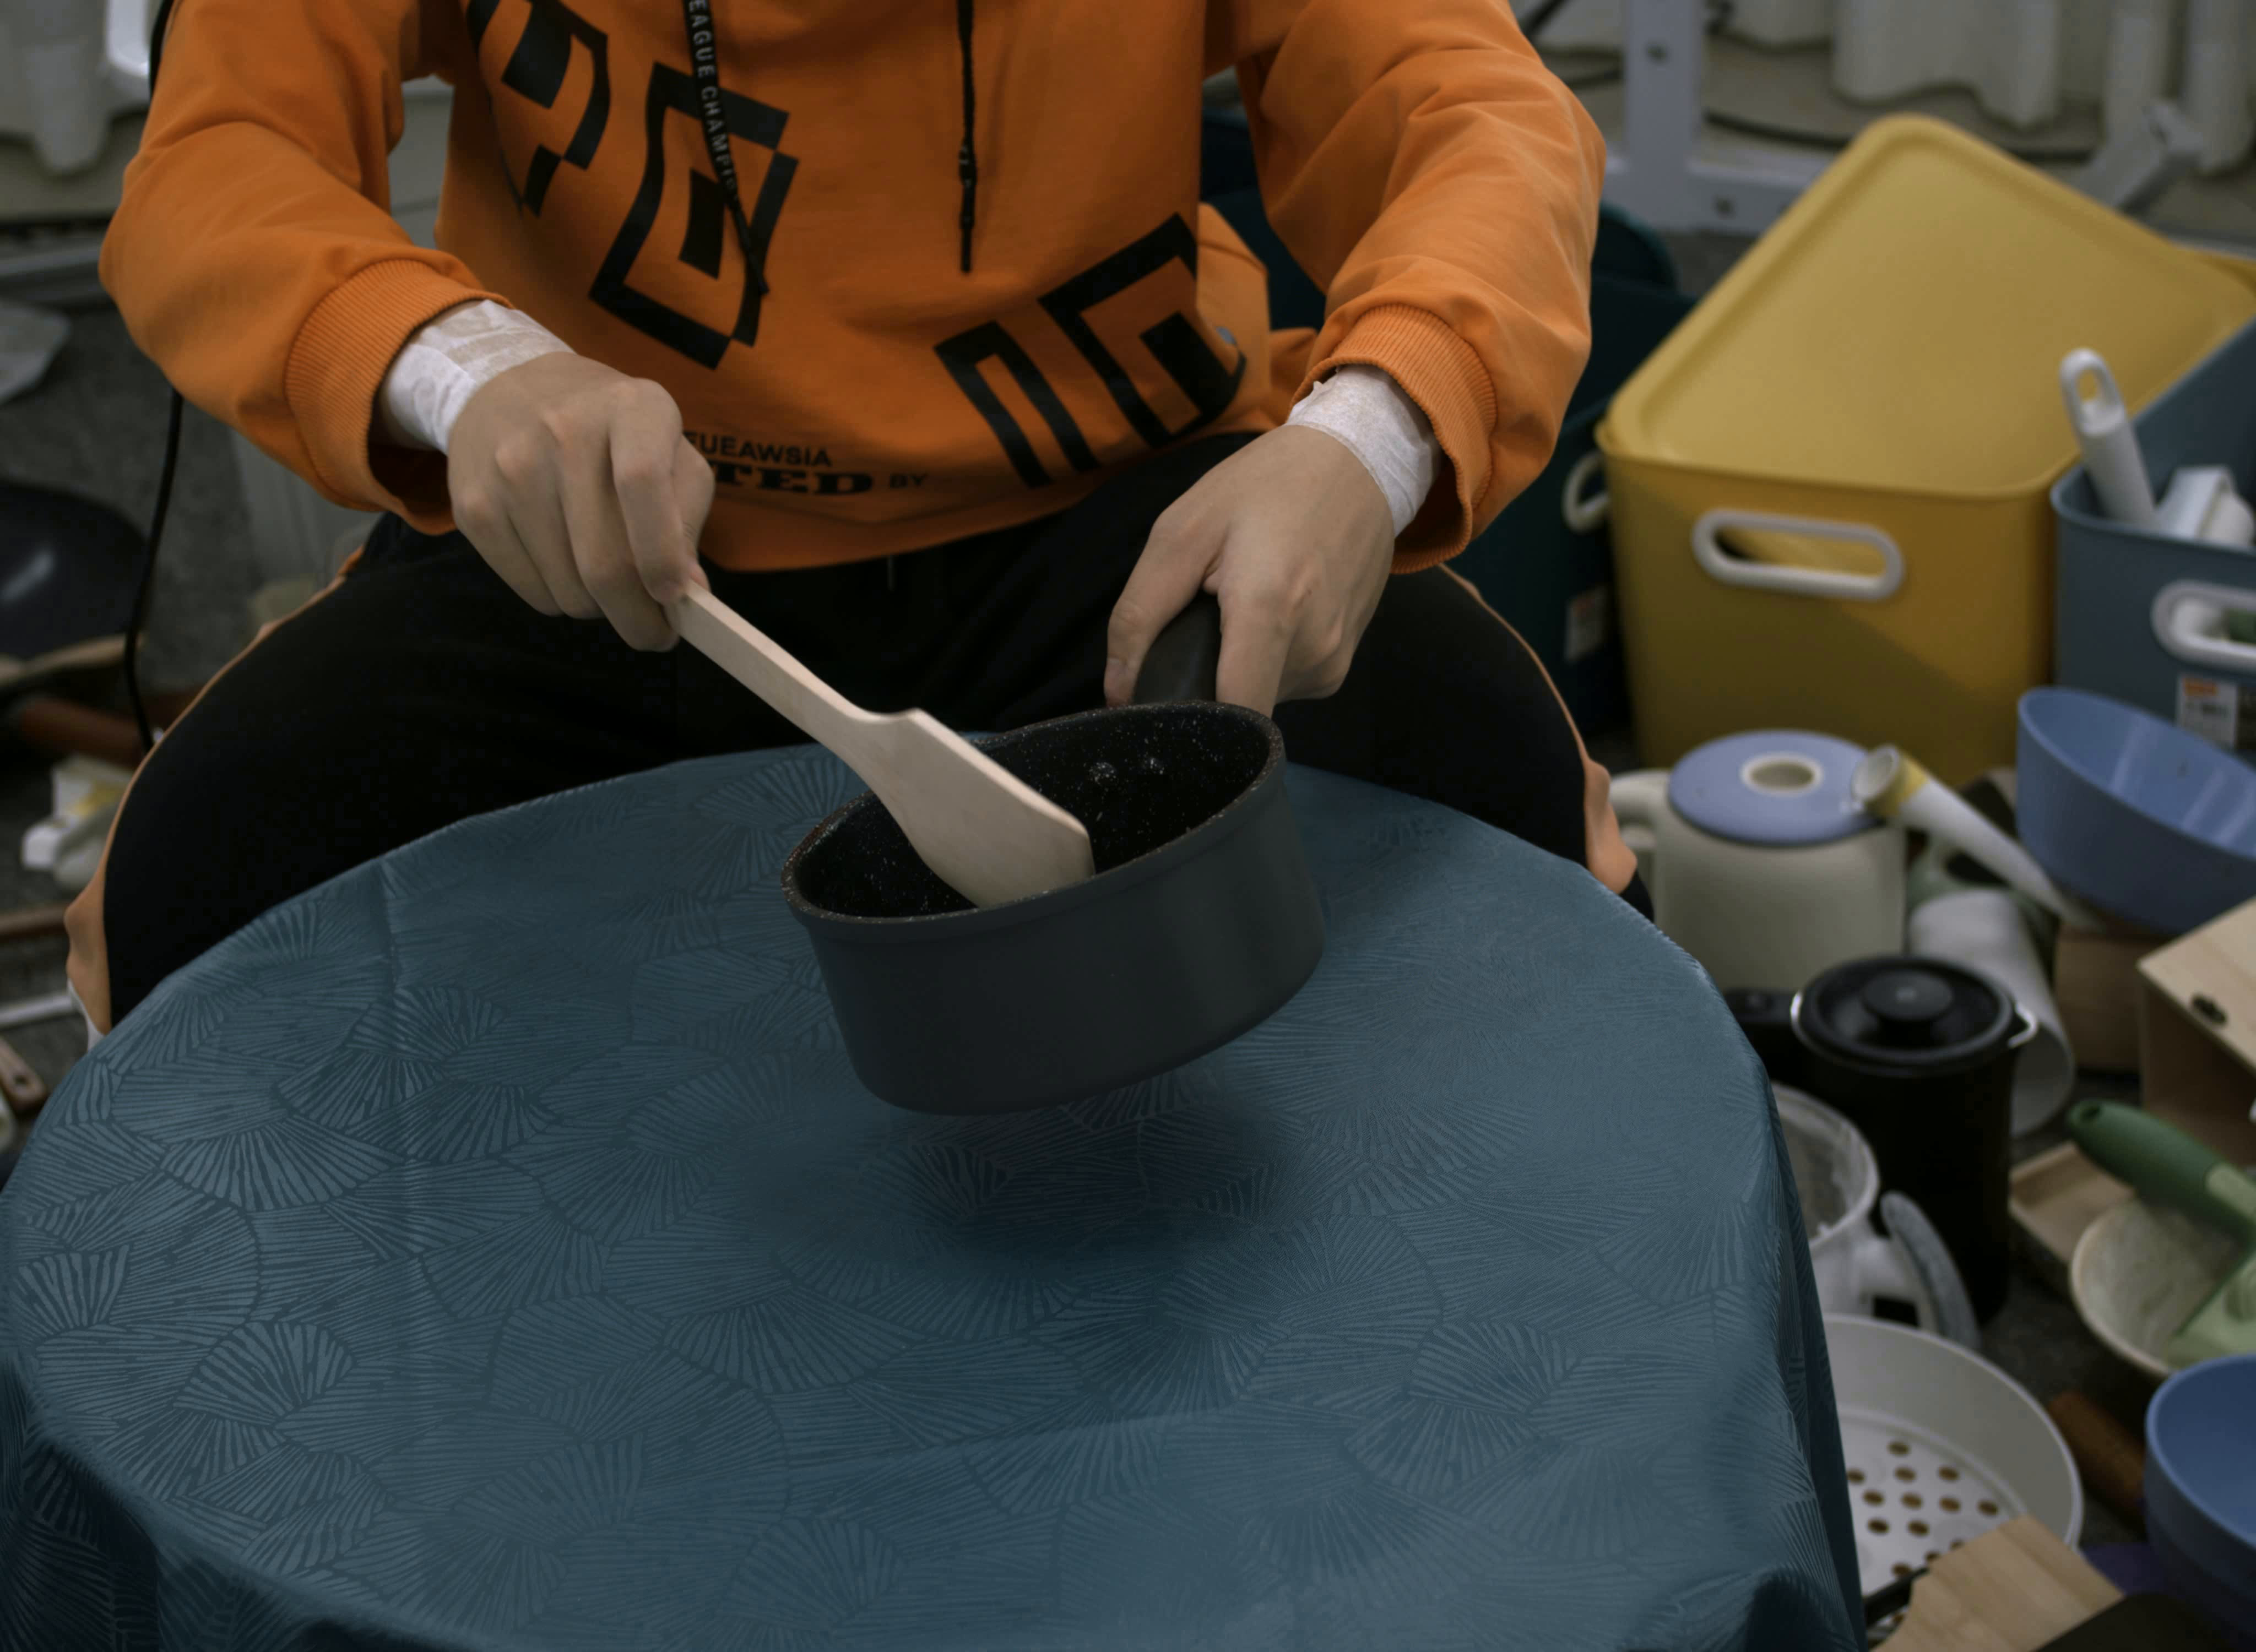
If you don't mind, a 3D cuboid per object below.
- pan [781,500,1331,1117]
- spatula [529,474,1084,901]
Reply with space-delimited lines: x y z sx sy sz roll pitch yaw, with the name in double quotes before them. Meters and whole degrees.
"pan" 0.006 -0.009 1.911 0.170 0.086 0.334 -6 23 26
"spatula" -0.112 -0.047 1.883 0.011 0.071 0.294 -34 49 -26
